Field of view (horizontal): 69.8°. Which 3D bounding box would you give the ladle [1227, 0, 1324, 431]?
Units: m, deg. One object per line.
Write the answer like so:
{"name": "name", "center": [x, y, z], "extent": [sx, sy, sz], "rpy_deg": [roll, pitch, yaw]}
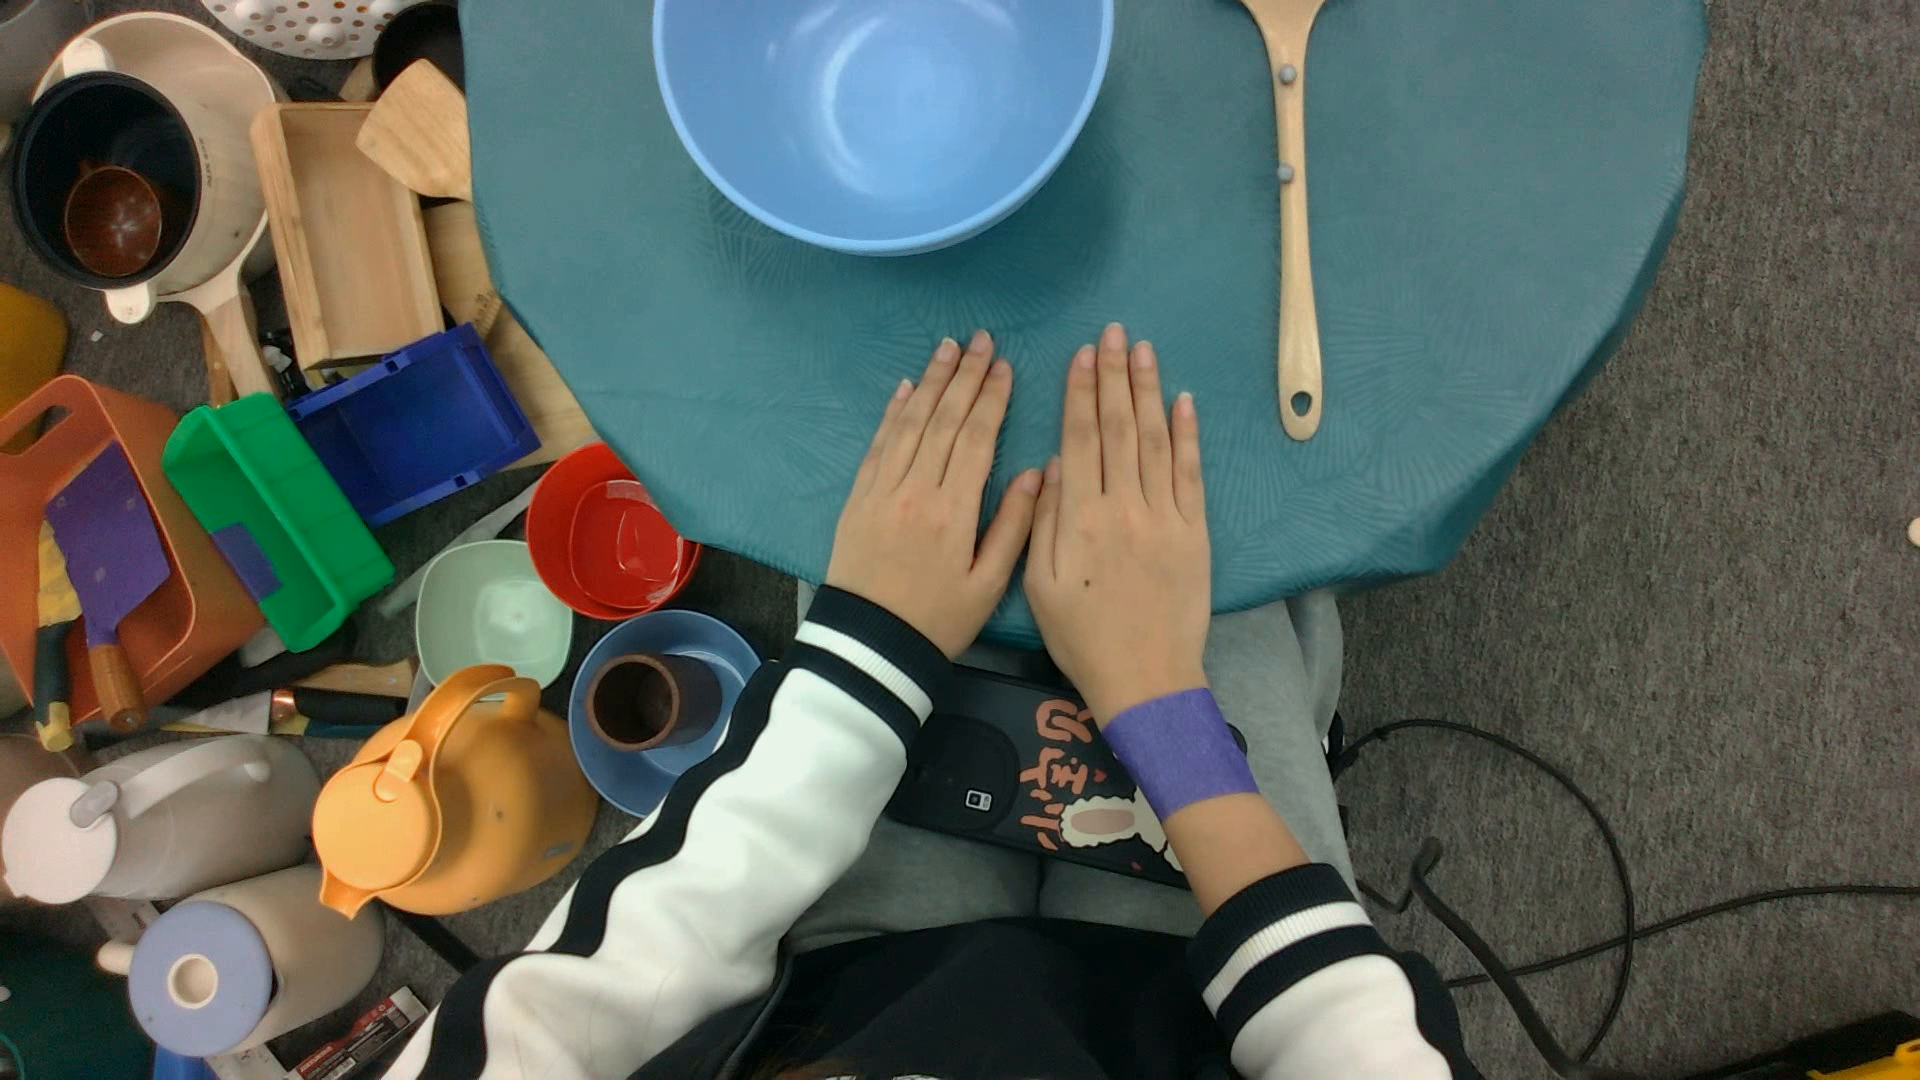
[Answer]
{"name": "ladle", "center": [0.152, -0.180, 0.619], "extent": [0.072, 0.073, 0.254], "rpy_deg": [-4, 85, 1]}

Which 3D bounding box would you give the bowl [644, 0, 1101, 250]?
{"name": "bowl", "center": [-0.035, -0.219, 0.632], "extent": [0.196, 0.095, 0.196], "rpy_deg": [0, 86, 4]}
